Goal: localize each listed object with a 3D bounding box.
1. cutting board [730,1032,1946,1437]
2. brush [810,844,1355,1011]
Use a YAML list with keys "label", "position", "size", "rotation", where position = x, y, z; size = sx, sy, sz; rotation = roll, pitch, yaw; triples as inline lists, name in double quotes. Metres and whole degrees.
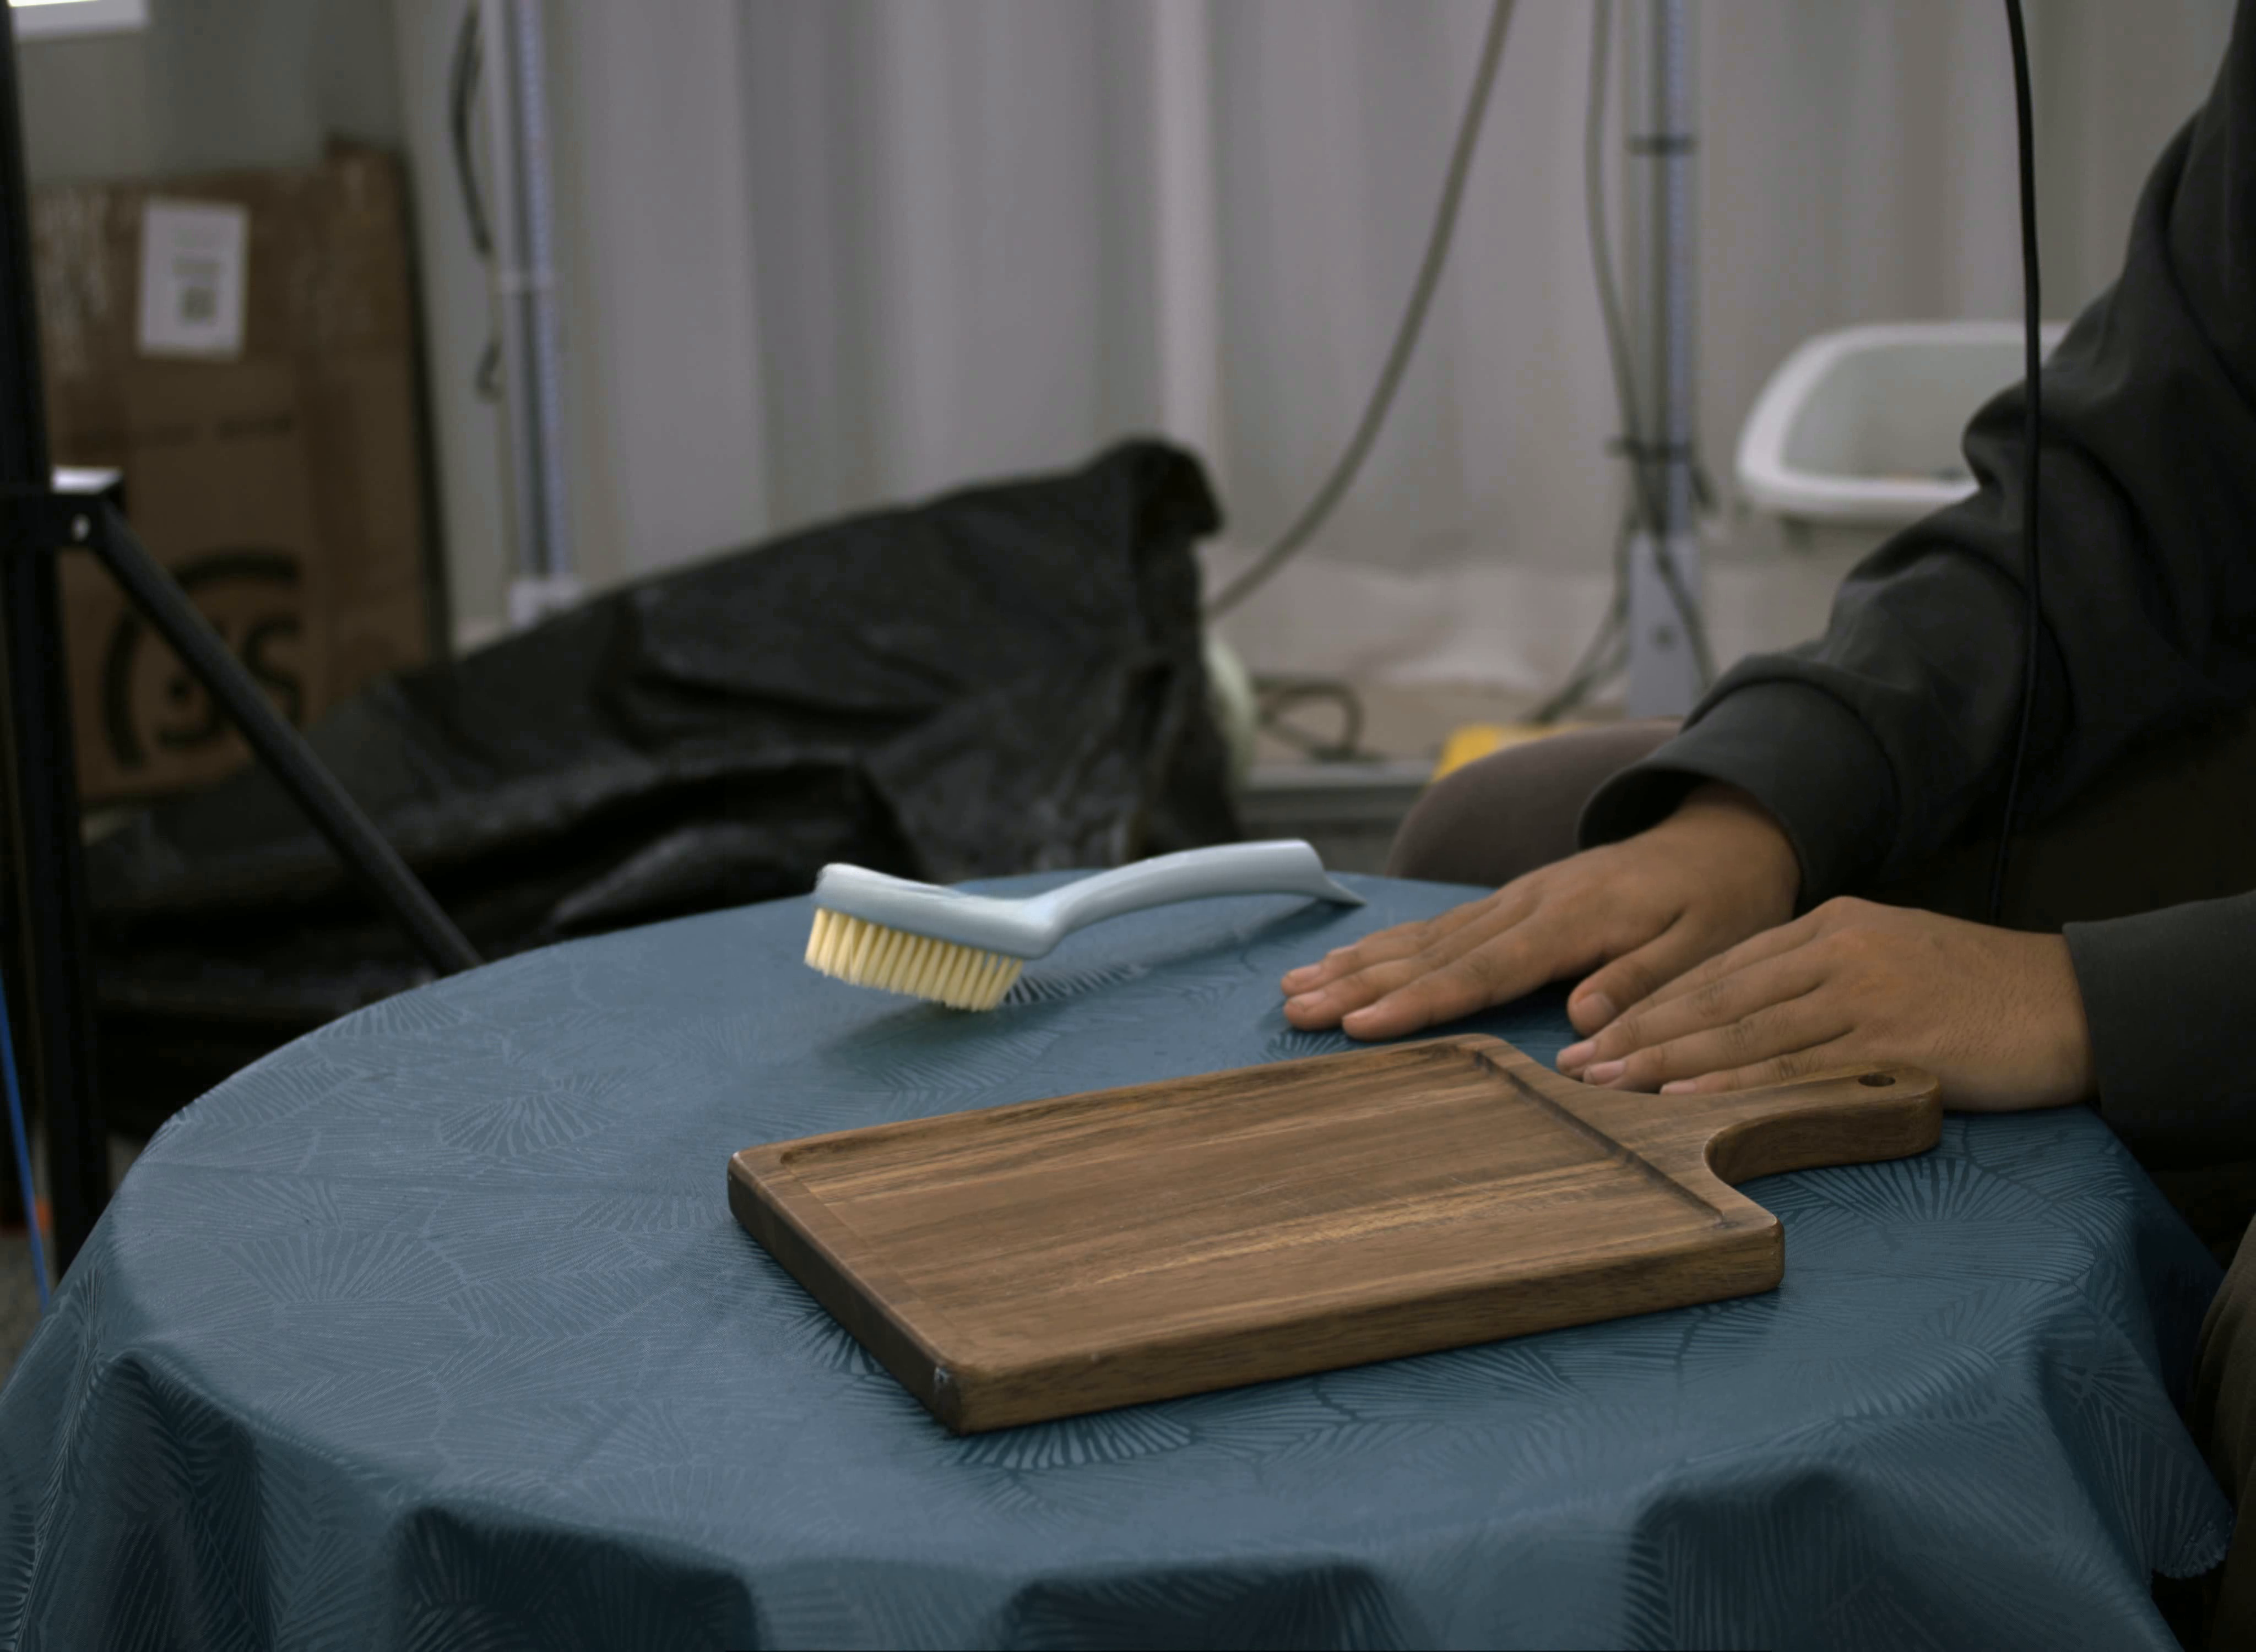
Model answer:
- label: "cutting board"
  position: [0.080, 0.105, 1.517]
  size: [0.346, 0.023, 0.205]
  rotation: [-8, 17, -19]
- label: "brush"
  position: [-0.013, 0.033, 1.766]
  size: [0.223, 0.050, 0.038]
  rotation: [-4, 19, -40]
